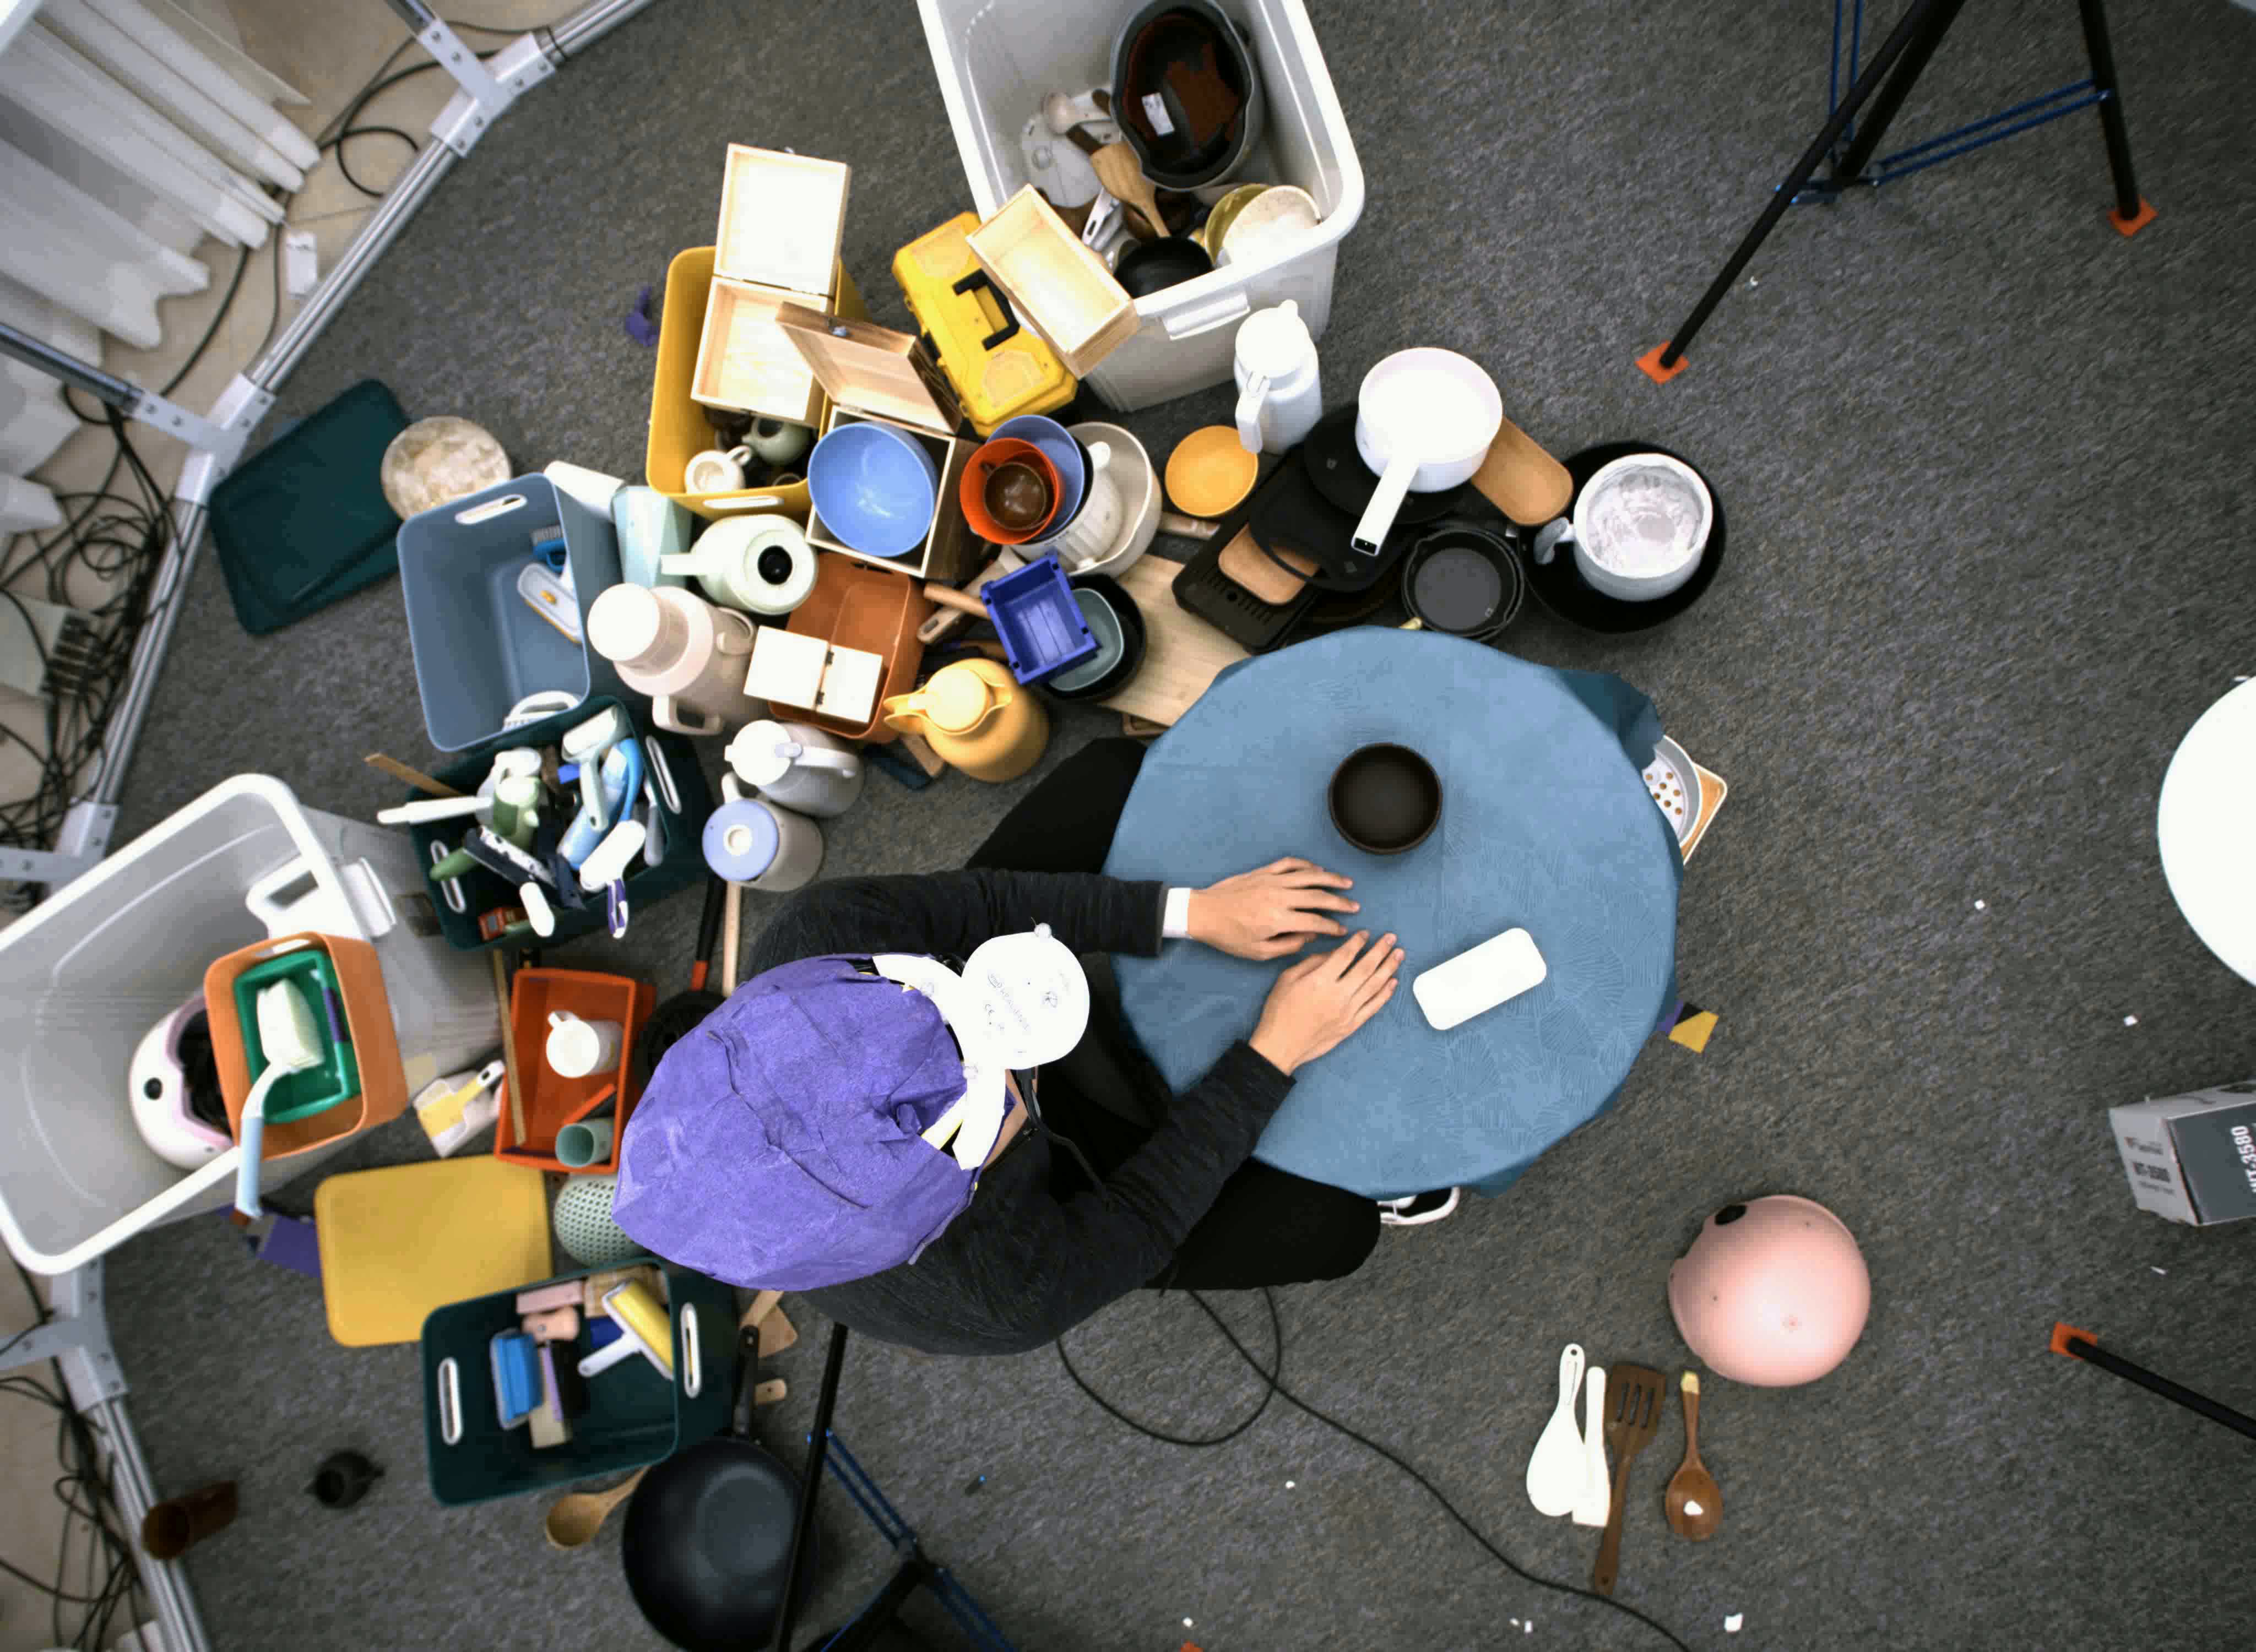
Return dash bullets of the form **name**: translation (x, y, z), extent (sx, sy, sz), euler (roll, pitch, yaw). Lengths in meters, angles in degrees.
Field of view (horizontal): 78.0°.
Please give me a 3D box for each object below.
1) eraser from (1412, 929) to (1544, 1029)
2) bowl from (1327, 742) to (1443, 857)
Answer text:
- **eraser**: translation (0.360, 0.155, 1.423), extent (0.132, 0.034, 0.063), euler (-27, 81, 7)
- **bowl**: translation (0.266, -0.027, 1.430), extent (0.118, 0.070, 0.117), euler (-1, 87, 11)
